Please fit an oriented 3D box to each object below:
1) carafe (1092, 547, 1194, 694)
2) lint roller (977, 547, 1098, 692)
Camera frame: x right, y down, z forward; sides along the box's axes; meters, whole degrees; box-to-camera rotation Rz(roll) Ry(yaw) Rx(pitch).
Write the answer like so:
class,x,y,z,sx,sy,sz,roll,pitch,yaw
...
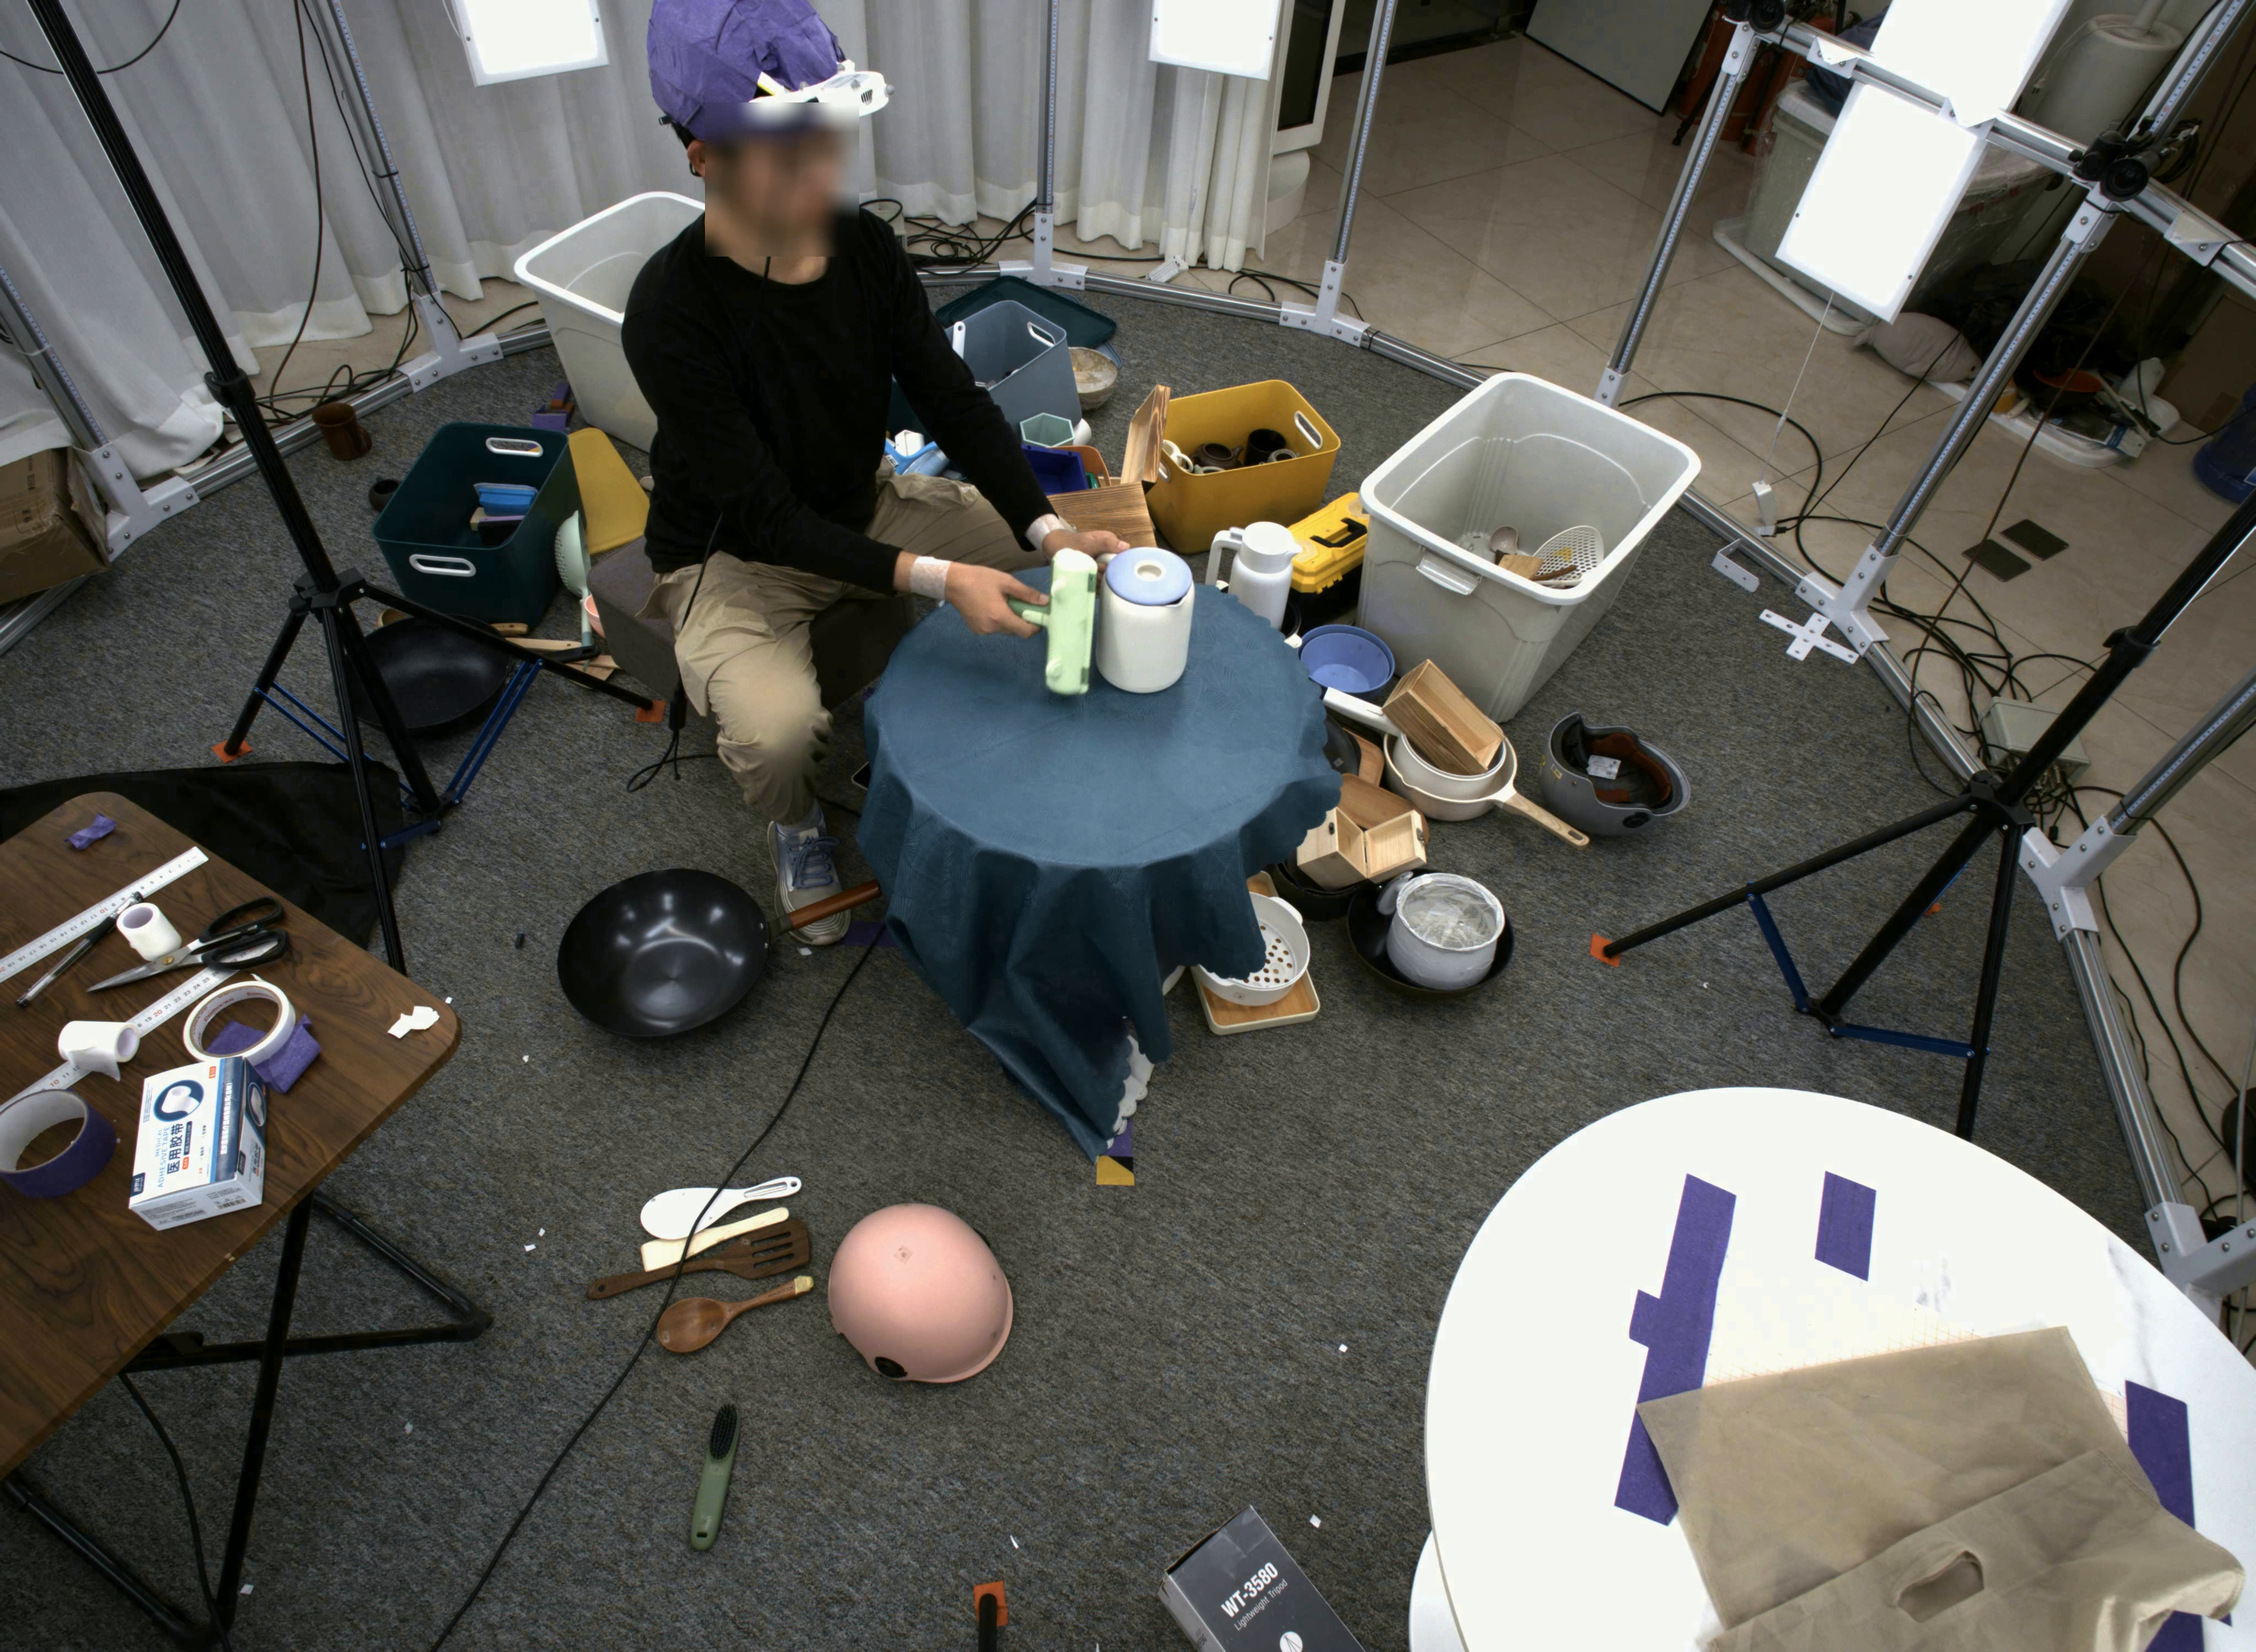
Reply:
class,x,y,z,sx,sy,sz,roll,pitch,yaw
carafe,0.008,-0.305,1.824,0.133,0.178,0.194,-29,55,-26
lint roller,-0.133,-0.289,1.771,0.184,0.194,0.083,12,31,12
